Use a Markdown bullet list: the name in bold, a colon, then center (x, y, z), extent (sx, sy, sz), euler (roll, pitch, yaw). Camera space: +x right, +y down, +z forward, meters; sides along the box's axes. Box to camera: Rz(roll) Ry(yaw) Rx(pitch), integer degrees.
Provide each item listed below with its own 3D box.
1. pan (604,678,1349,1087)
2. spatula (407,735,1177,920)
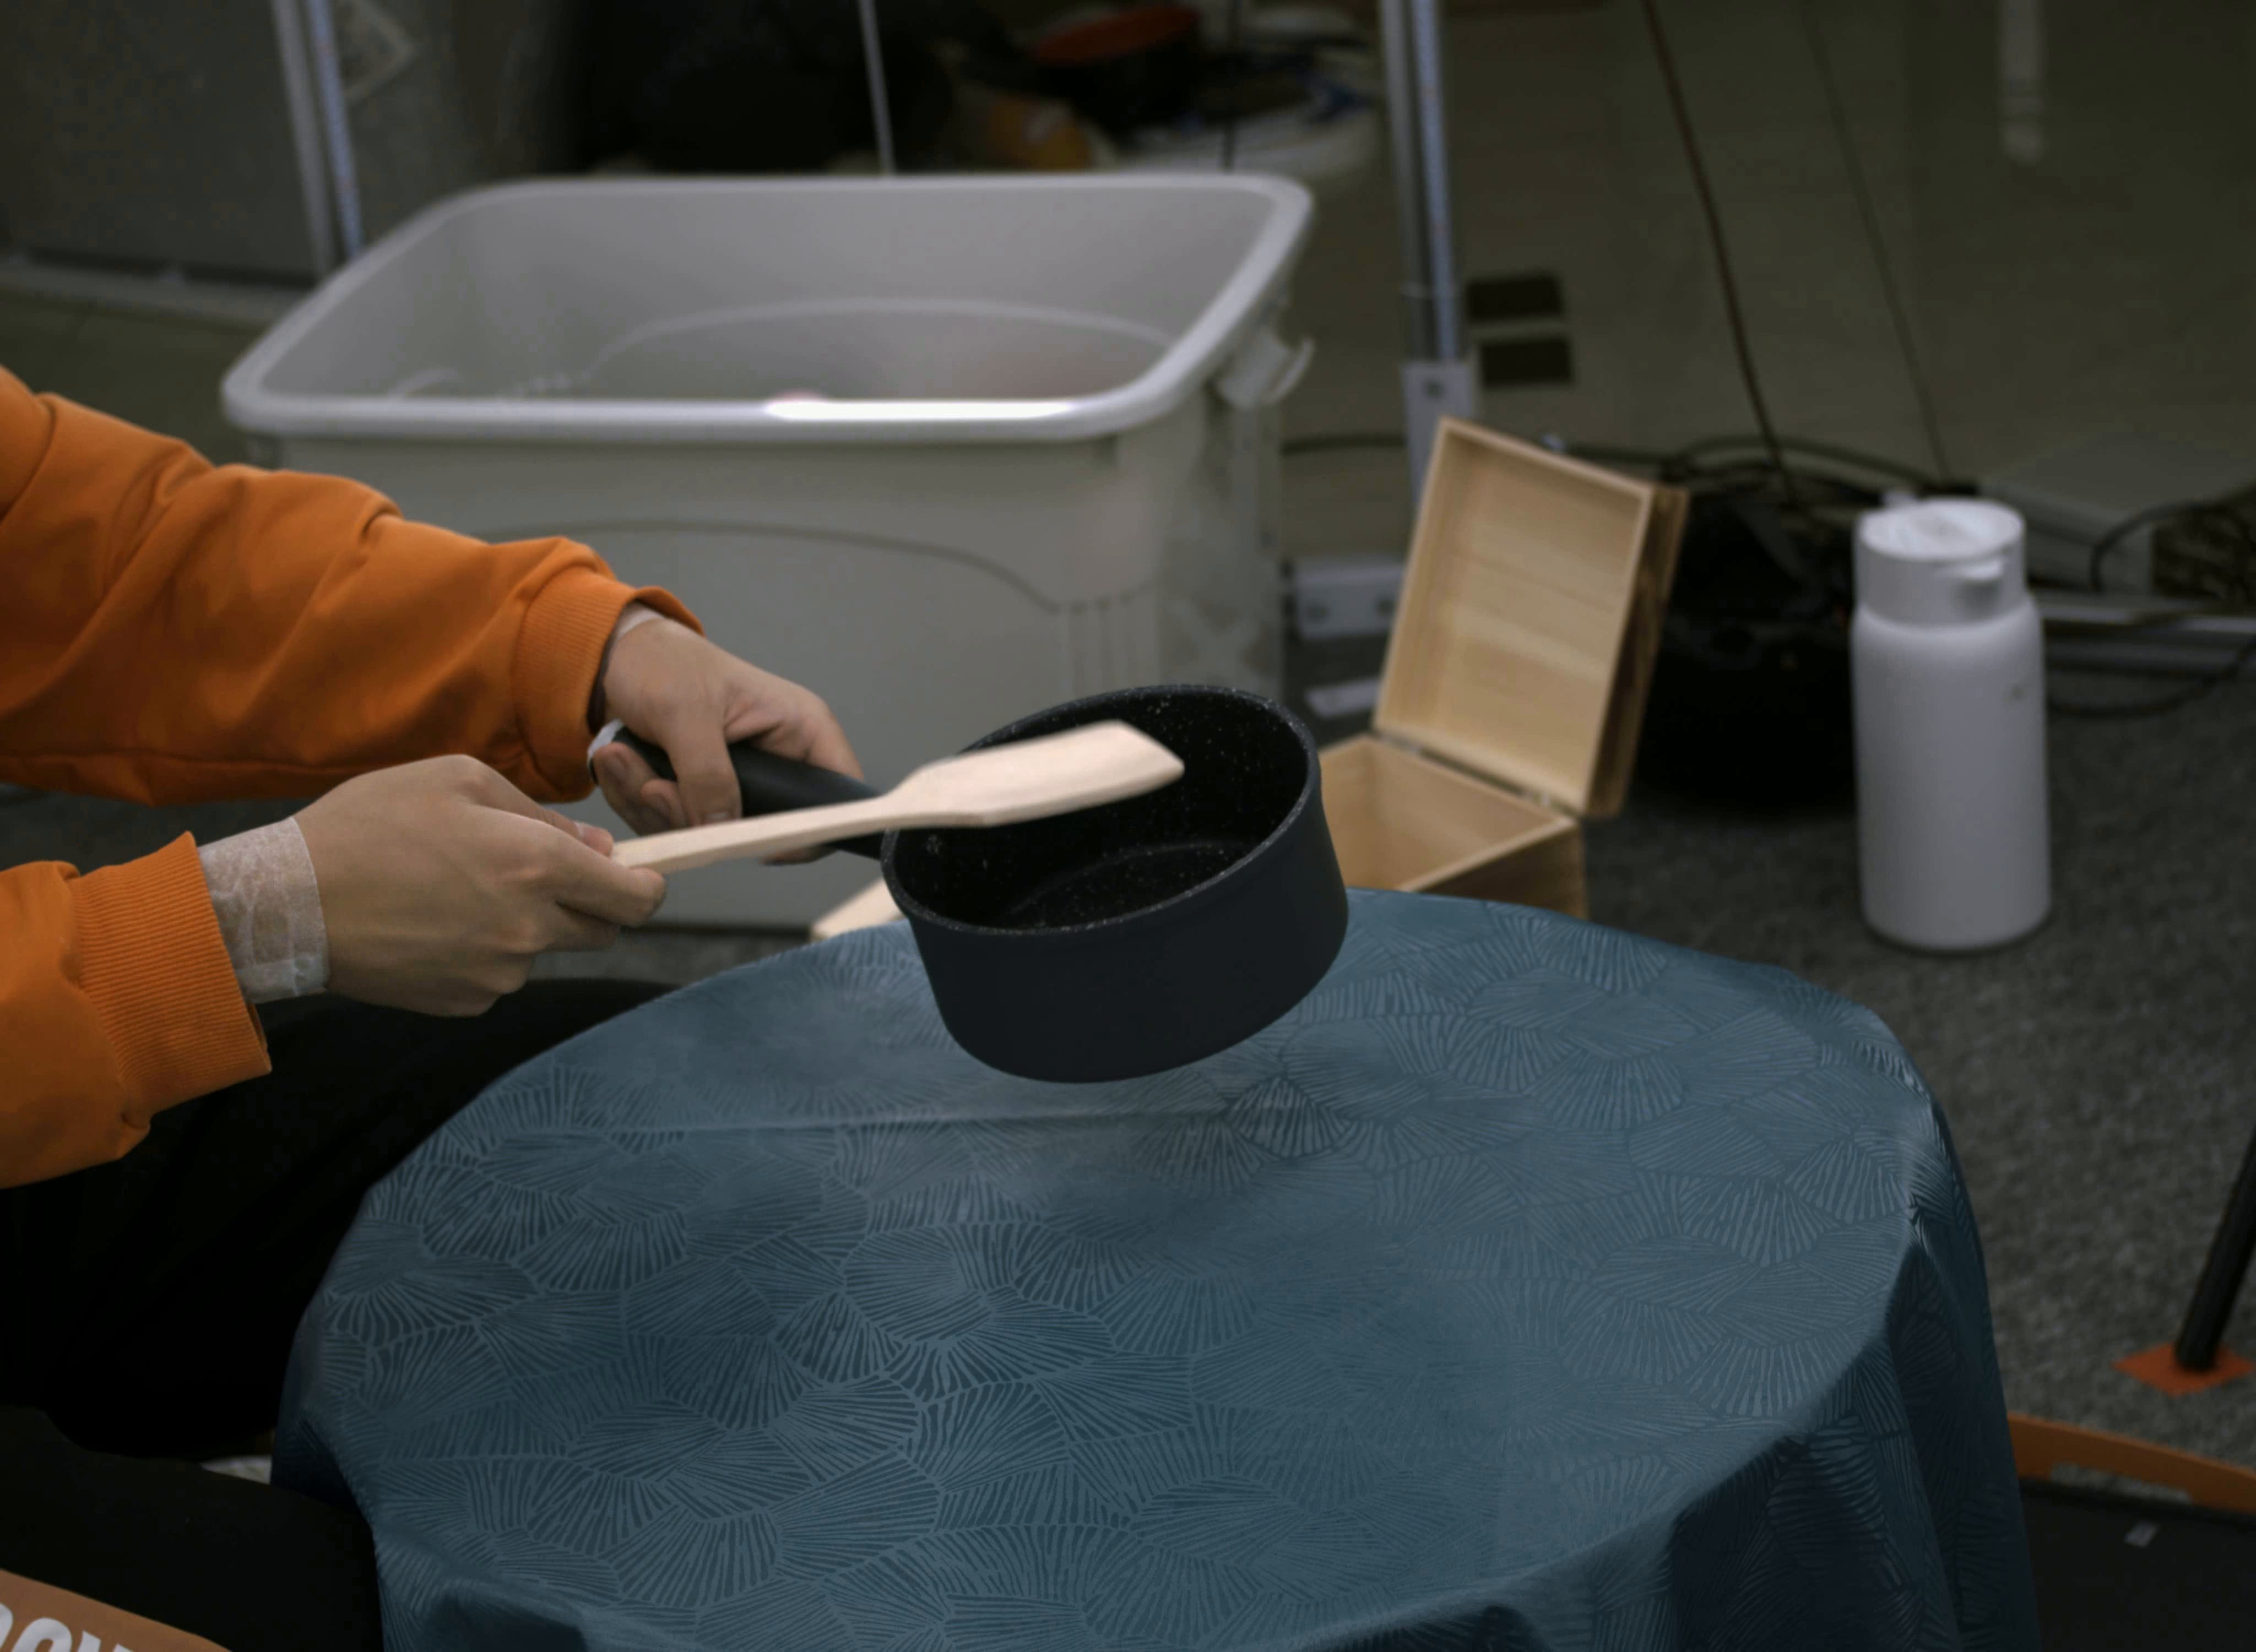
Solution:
- **pan**: center (-0.067, 0.011, 2.202), extent (0.327, 0.088, 0.170), euler (10, 40, 35)
- **spatula**: center (-0.126, 0.004, 2.103), extent (0.292, 0.011, 0.071), euler (-11, 22, -20)
